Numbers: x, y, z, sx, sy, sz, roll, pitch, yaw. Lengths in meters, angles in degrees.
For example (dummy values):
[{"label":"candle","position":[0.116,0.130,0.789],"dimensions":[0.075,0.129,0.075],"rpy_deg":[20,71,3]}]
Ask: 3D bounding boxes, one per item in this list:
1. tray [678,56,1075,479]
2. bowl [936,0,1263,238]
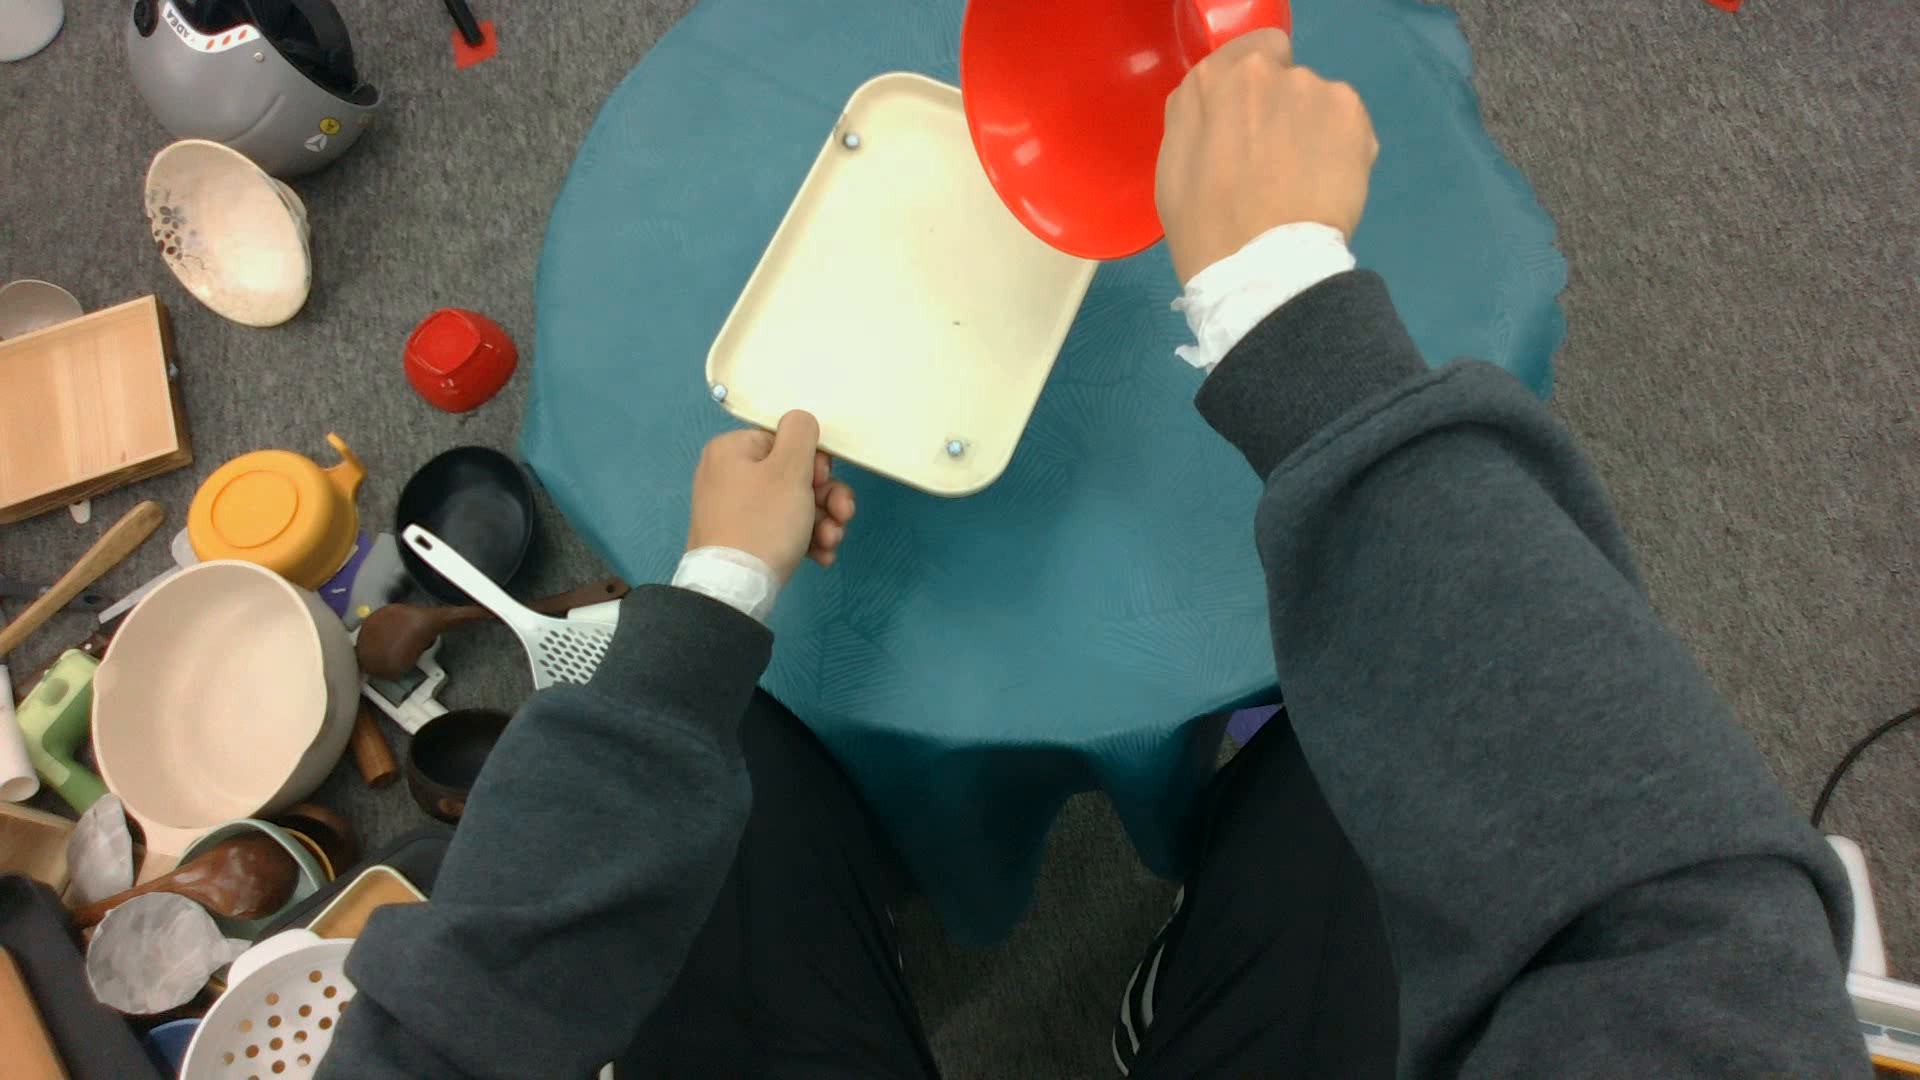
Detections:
[{"label":"tray","position":[-0.034,-0.153,0.749],"dimensions":[0.171,0.017,0.240],"rpy_deg":[21,68,6]},{"label":"bowl","position":[0.072,-0.224,0.626],"dimensions":[0.105,0.147,0.148],"rpy_deg":[-30,70,-28]}]
